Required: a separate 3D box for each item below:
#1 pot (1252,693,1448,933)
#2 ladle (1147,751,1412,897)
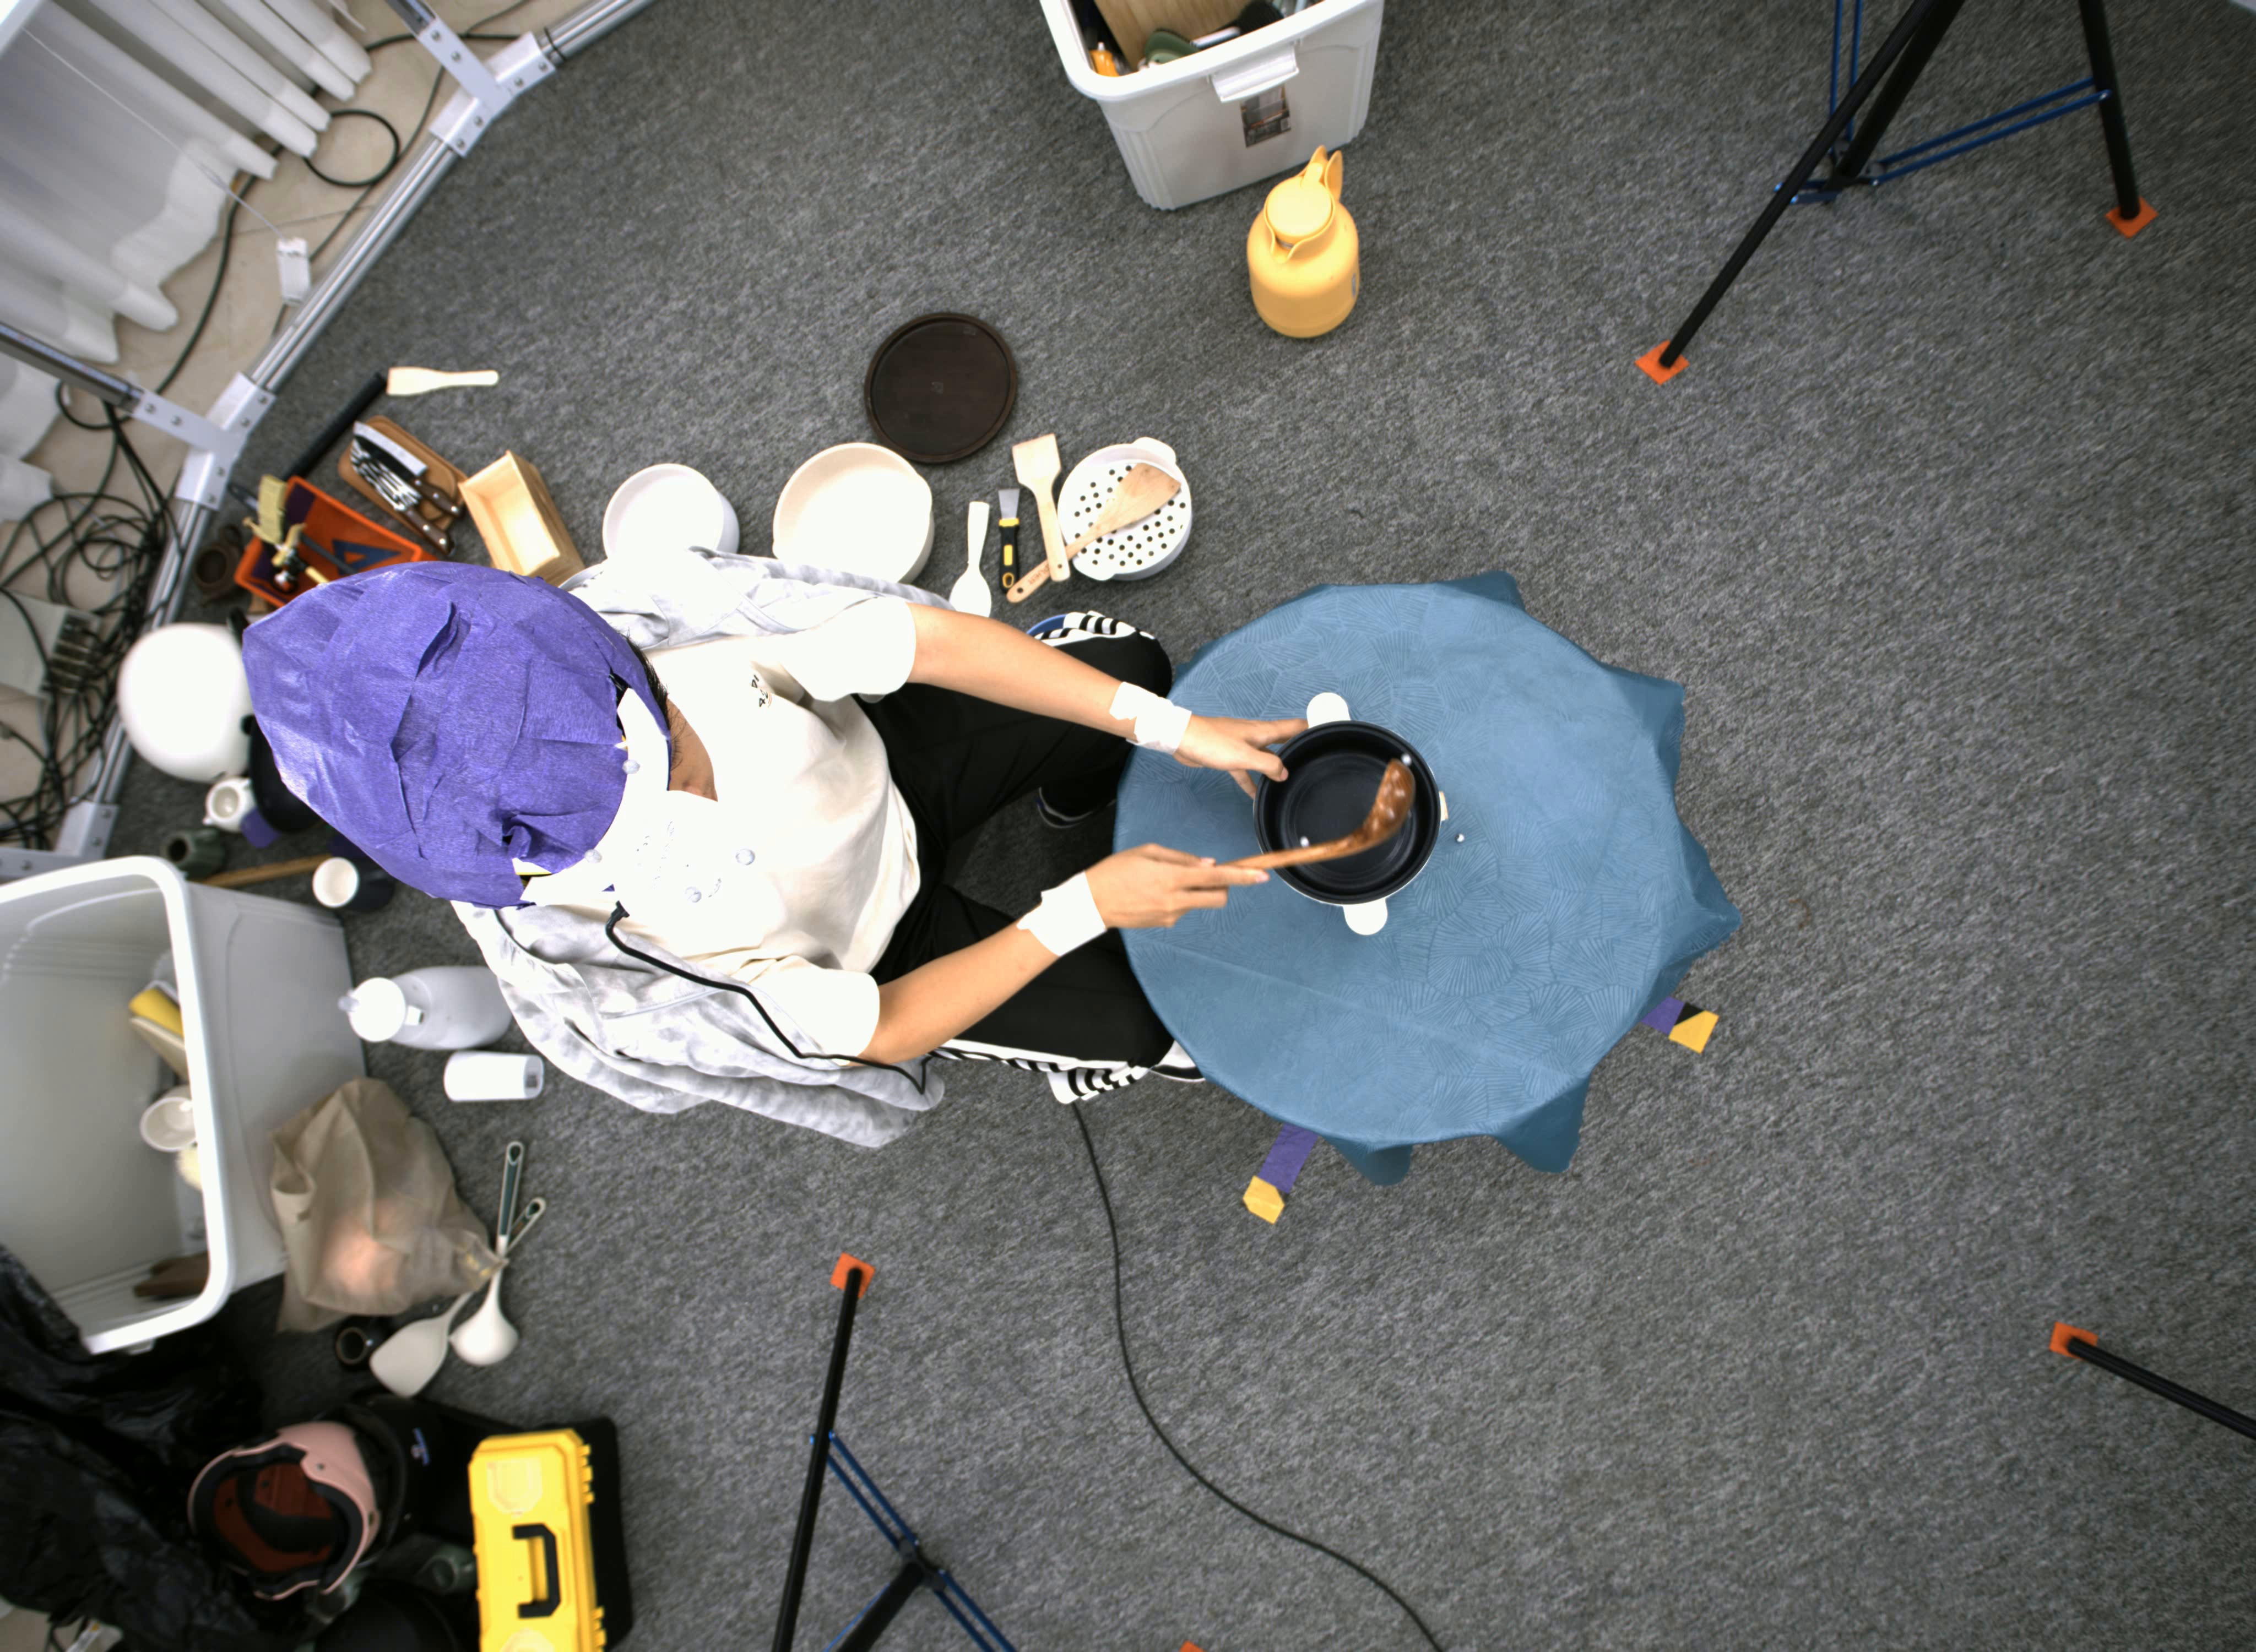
[{"bbox_3d":[0.228,-0.011,1.400,0.192,0.142,0.239,-12,85,13],"label":"pot"},{"bbox_3d":[0.135,-0.002,1.292,0.277,0.081,0.076,-15,88,21],"label":"ladle"}]
